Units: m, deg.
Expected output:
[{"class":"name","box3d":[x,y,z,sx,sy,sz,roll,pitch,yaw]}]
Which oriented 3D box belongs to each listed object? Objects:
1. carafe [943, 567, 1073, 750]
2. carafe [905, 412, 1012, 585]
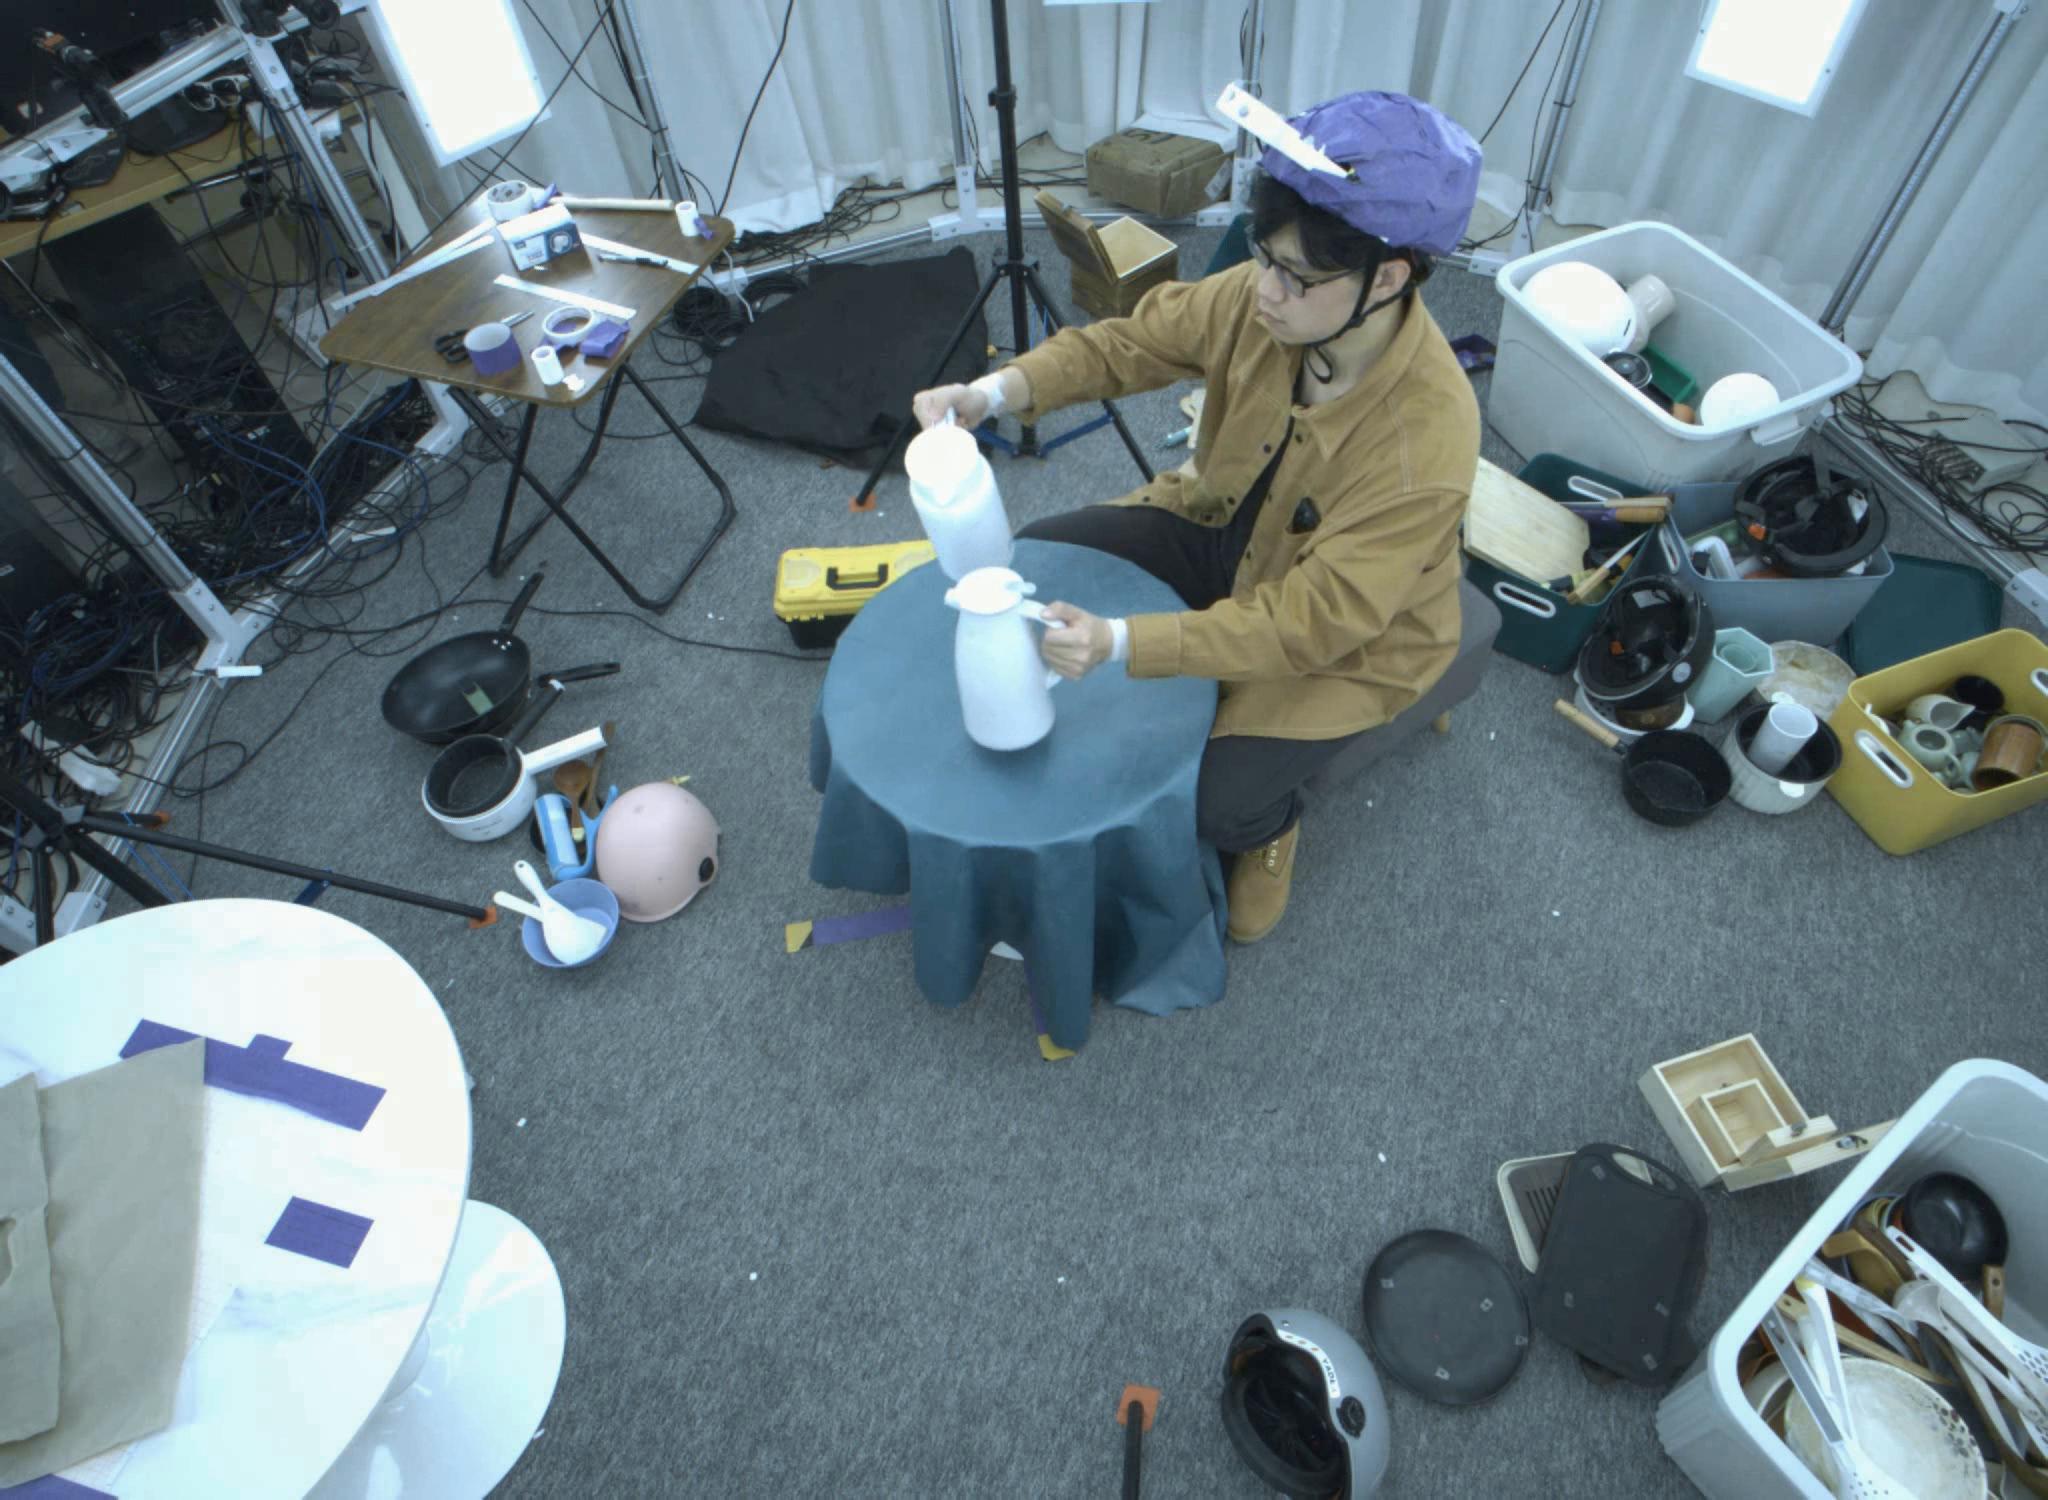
[{"class":"carafe","box3d":[-0.016,-0.129,1.667,0.166,0.251,0.132,6,50,10]},{"class":"carafe","box3d":[-0.096,-0.357,1.733,0.123,0.272,0.171,-7,69,8]}]
